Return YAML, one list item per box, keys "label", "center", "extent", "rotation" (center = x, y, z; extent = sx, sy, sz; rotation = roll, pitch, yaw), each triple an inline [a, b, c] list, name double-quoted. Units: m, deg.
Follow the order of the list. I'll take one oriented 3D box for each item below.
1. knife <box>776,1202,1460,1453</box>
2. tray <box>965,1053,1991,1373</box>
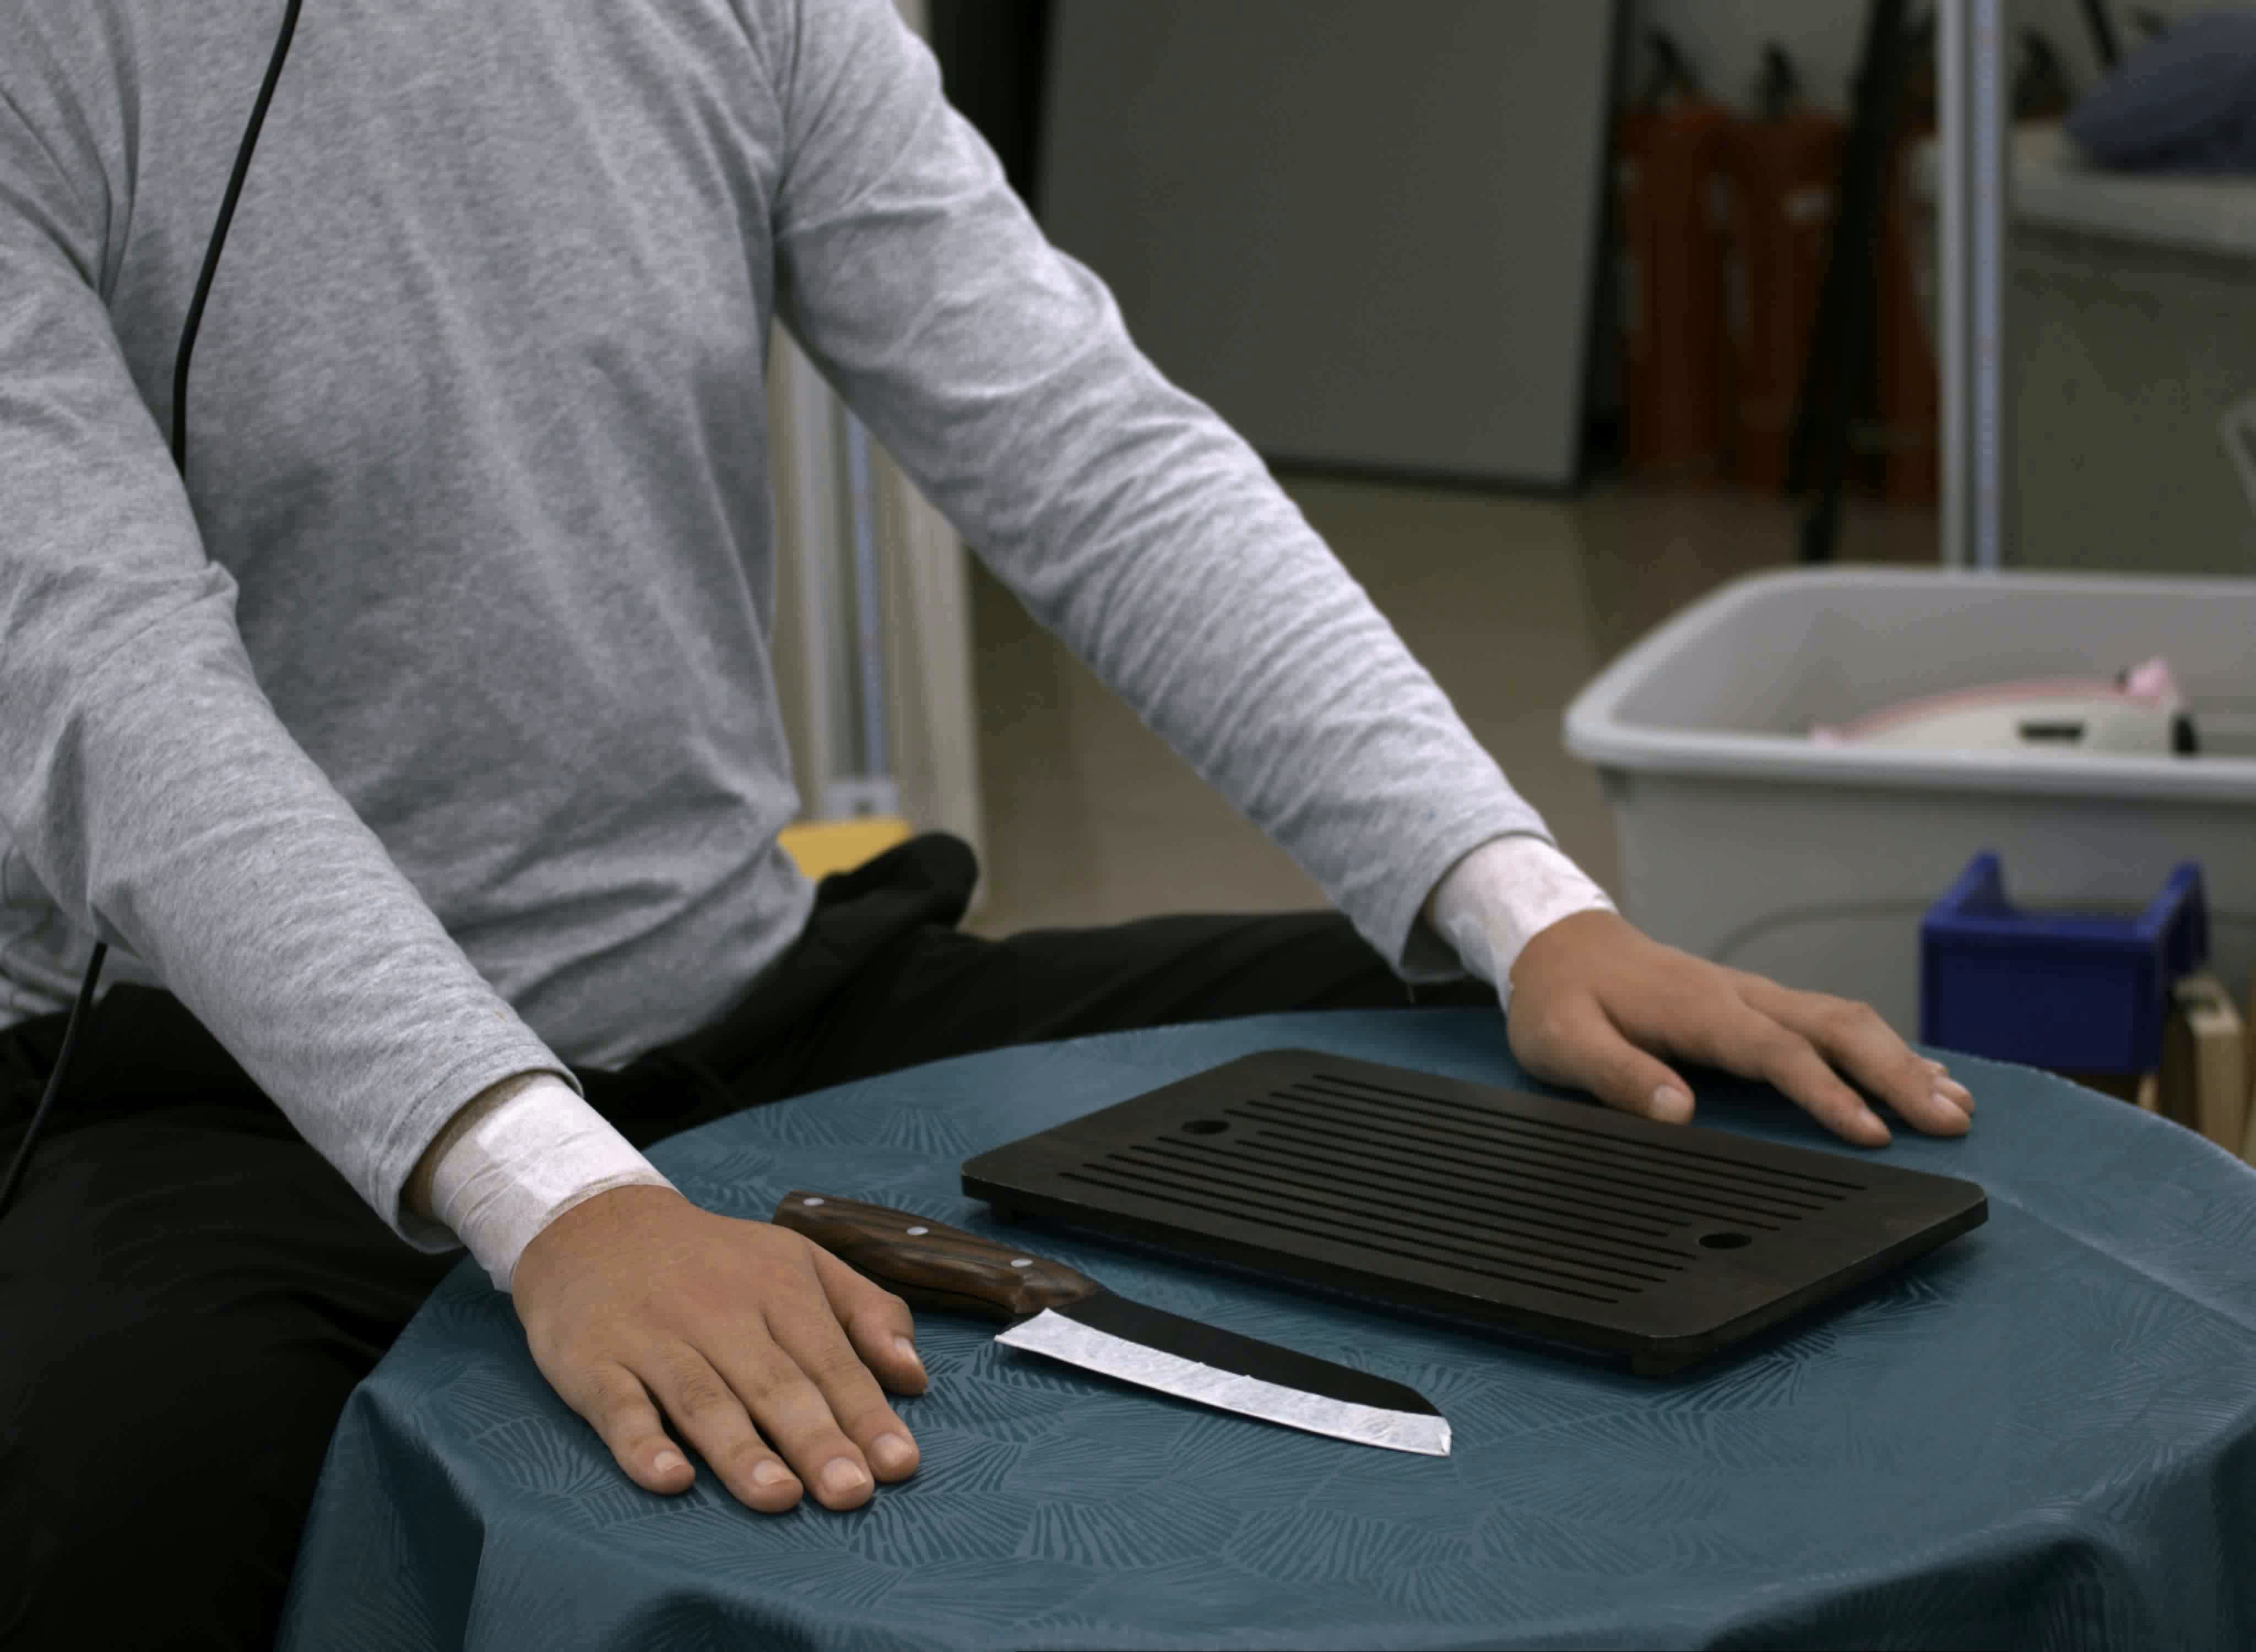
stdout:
- label: "knife"
  center: [-0.007, 0.152, 1.620]
  extent: [0.049, 0.020, 0.292]
  rotation: [-22, 24, -40]
- label: "tray"
  center: [0.107, 0.120, 1.712]
  extent: [0.309, 0.019, 0.166]
  rotation: [8, 19, 44]
